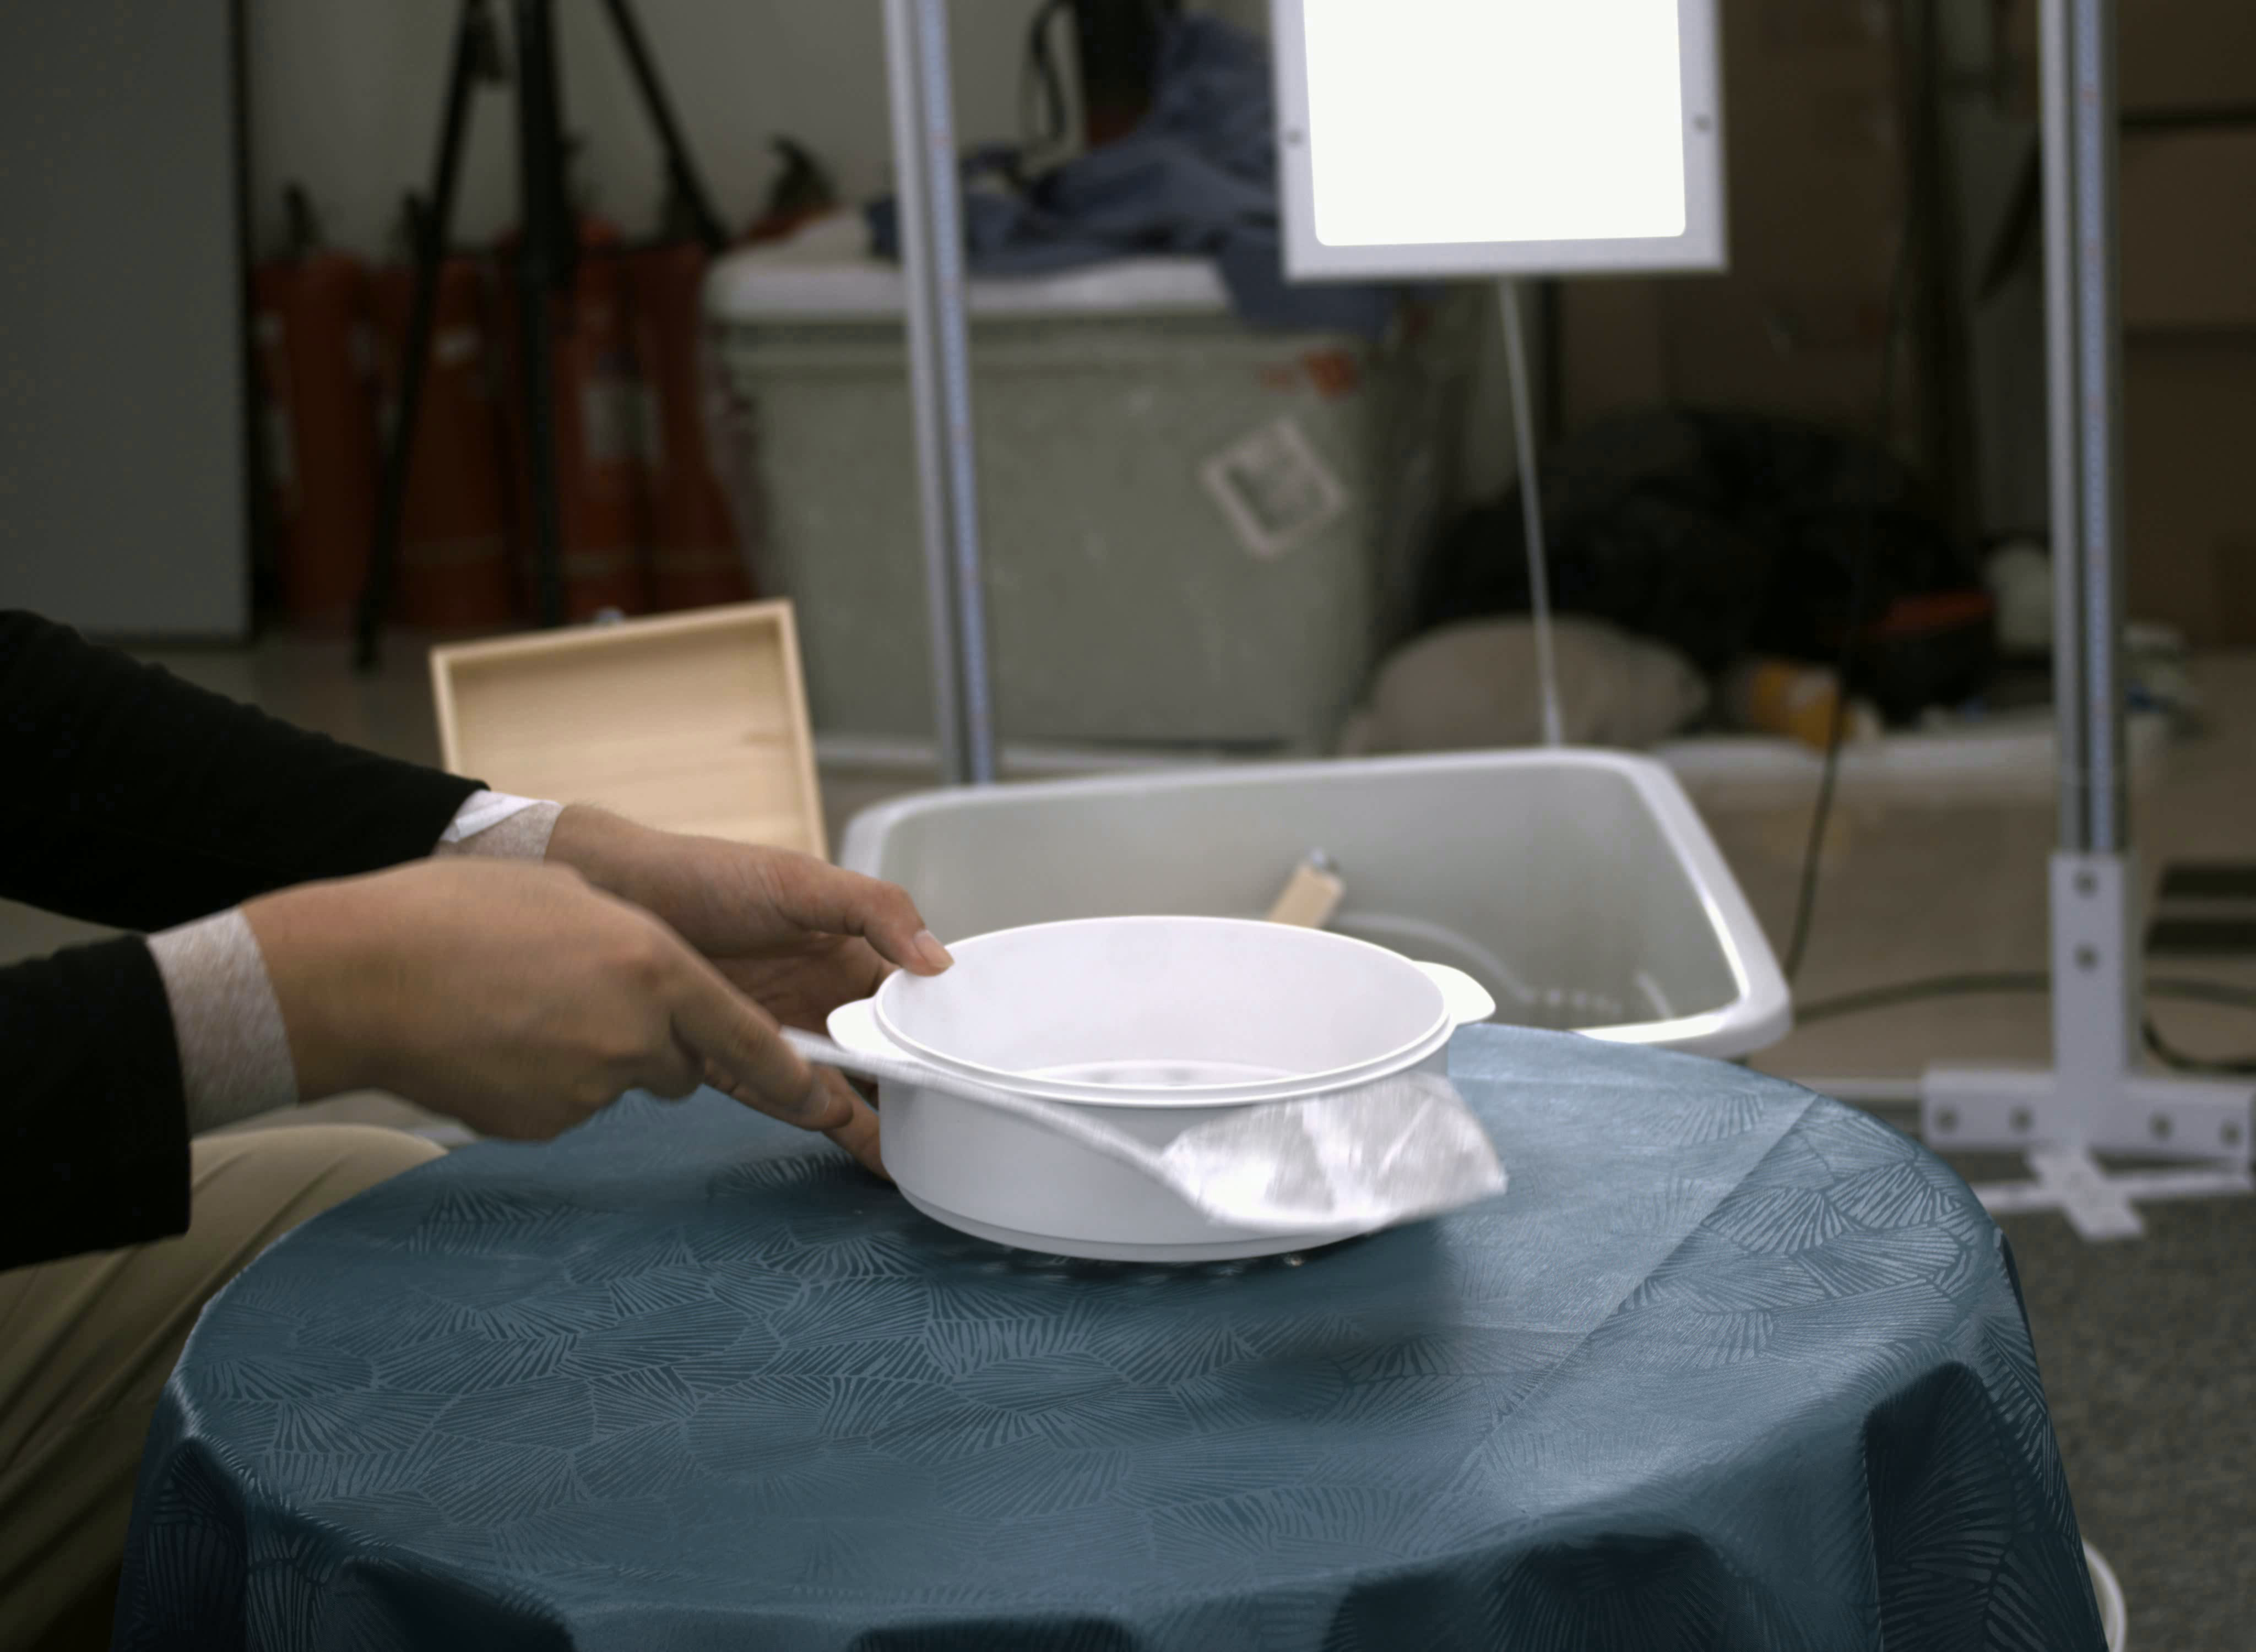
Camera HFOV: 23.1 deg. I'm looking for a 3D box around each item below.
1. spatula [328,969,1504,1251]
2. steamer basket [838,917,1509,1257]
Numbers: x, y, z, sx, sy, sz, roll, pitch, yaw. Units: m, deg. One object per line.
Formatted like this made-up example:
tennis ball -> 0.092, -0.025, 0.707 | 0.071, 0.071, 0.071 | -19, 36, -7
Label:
spatula -> -0.063, 0.077, 1.683 | 0.361, 0.045, 0.099 | 14, 22, -11
steamer basket -> 0.017, 0.089, 1.880 | 0.228, 0.069, 0.203 | -4, 15, -11
